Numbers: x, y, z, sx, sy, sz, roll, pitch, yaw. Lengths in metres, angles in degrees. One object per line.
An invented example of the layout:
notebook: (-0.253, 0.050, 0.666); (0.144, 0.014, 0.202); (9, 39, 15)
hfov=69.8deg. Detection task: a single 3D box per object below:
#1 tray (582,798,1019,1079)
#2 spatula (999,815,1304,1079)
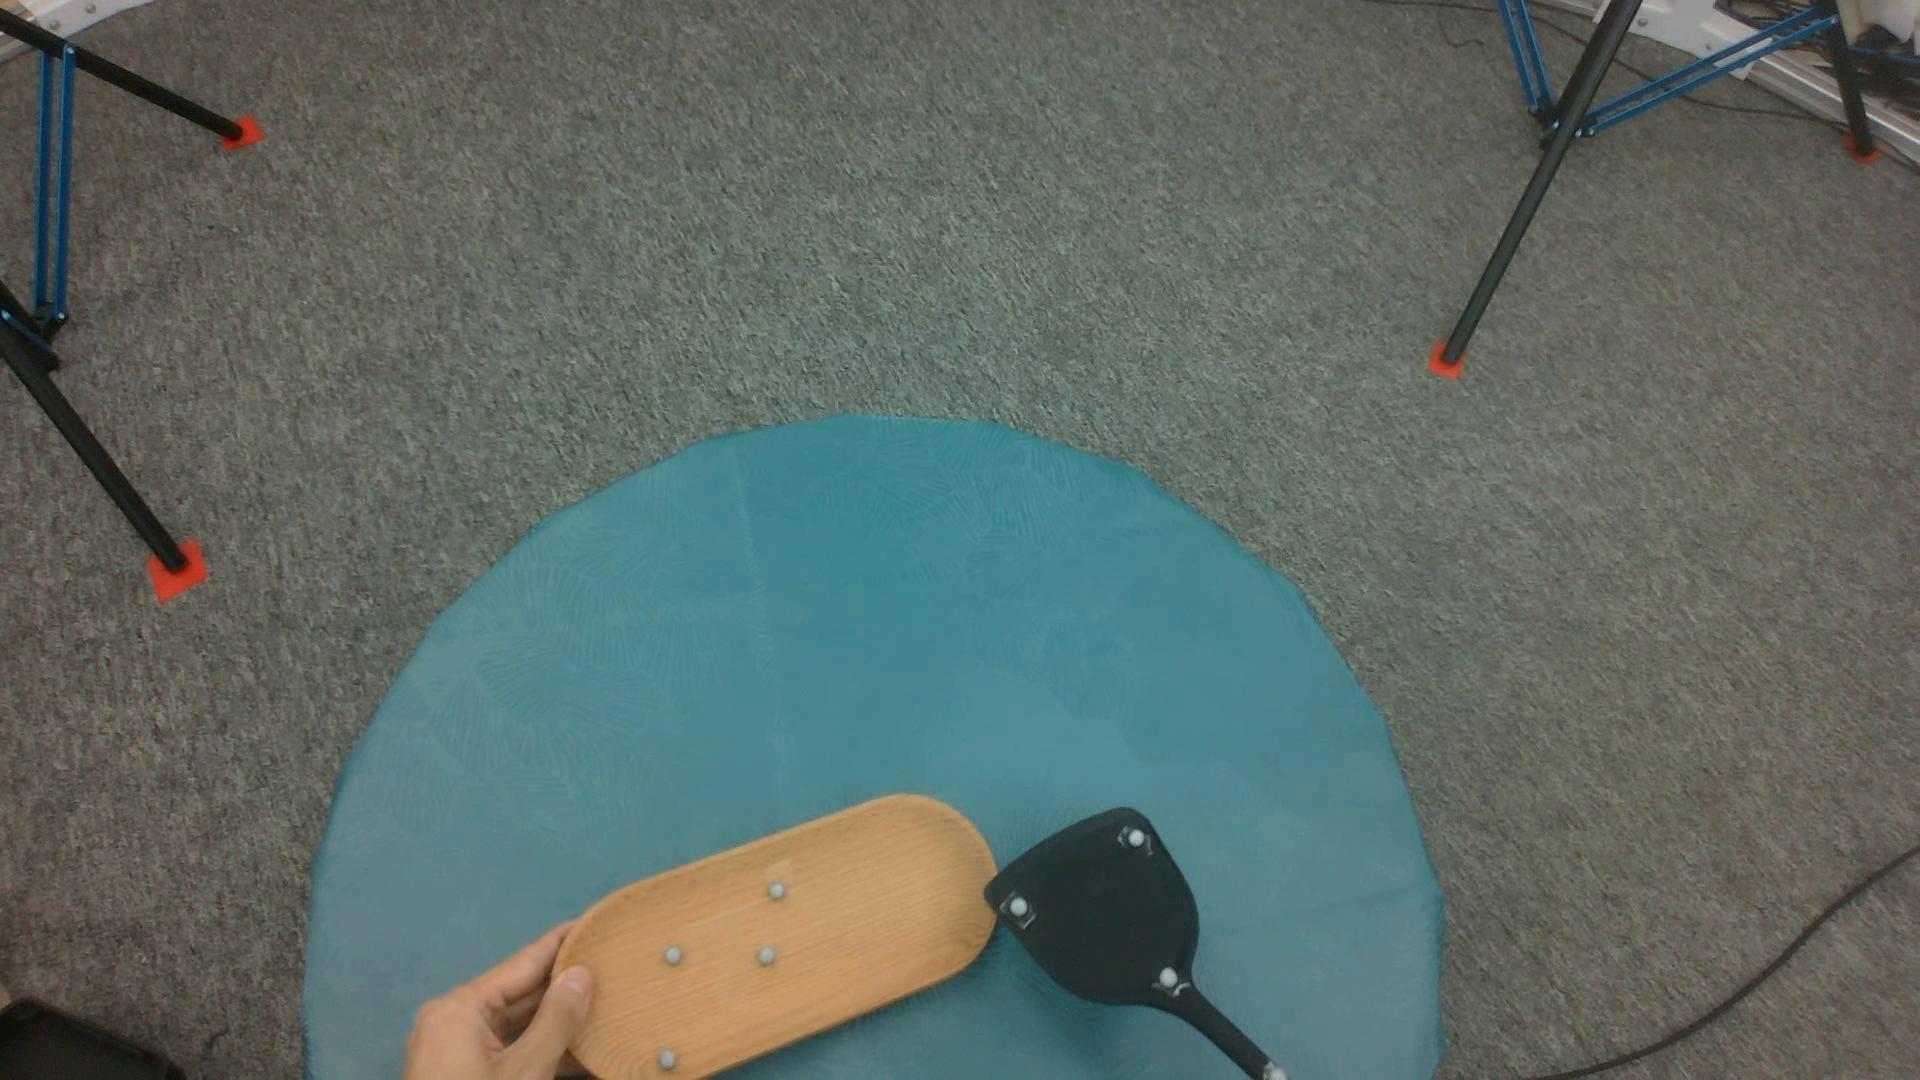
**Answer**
tray: (-0.078, 0.205, 0.715); (0.232, 0.020, 0.102); (-15, 62, -20)
spatula: (0.142, 0.232, 0.598); (0.100, 0.040, 0.326); (-24, 33, -23)
